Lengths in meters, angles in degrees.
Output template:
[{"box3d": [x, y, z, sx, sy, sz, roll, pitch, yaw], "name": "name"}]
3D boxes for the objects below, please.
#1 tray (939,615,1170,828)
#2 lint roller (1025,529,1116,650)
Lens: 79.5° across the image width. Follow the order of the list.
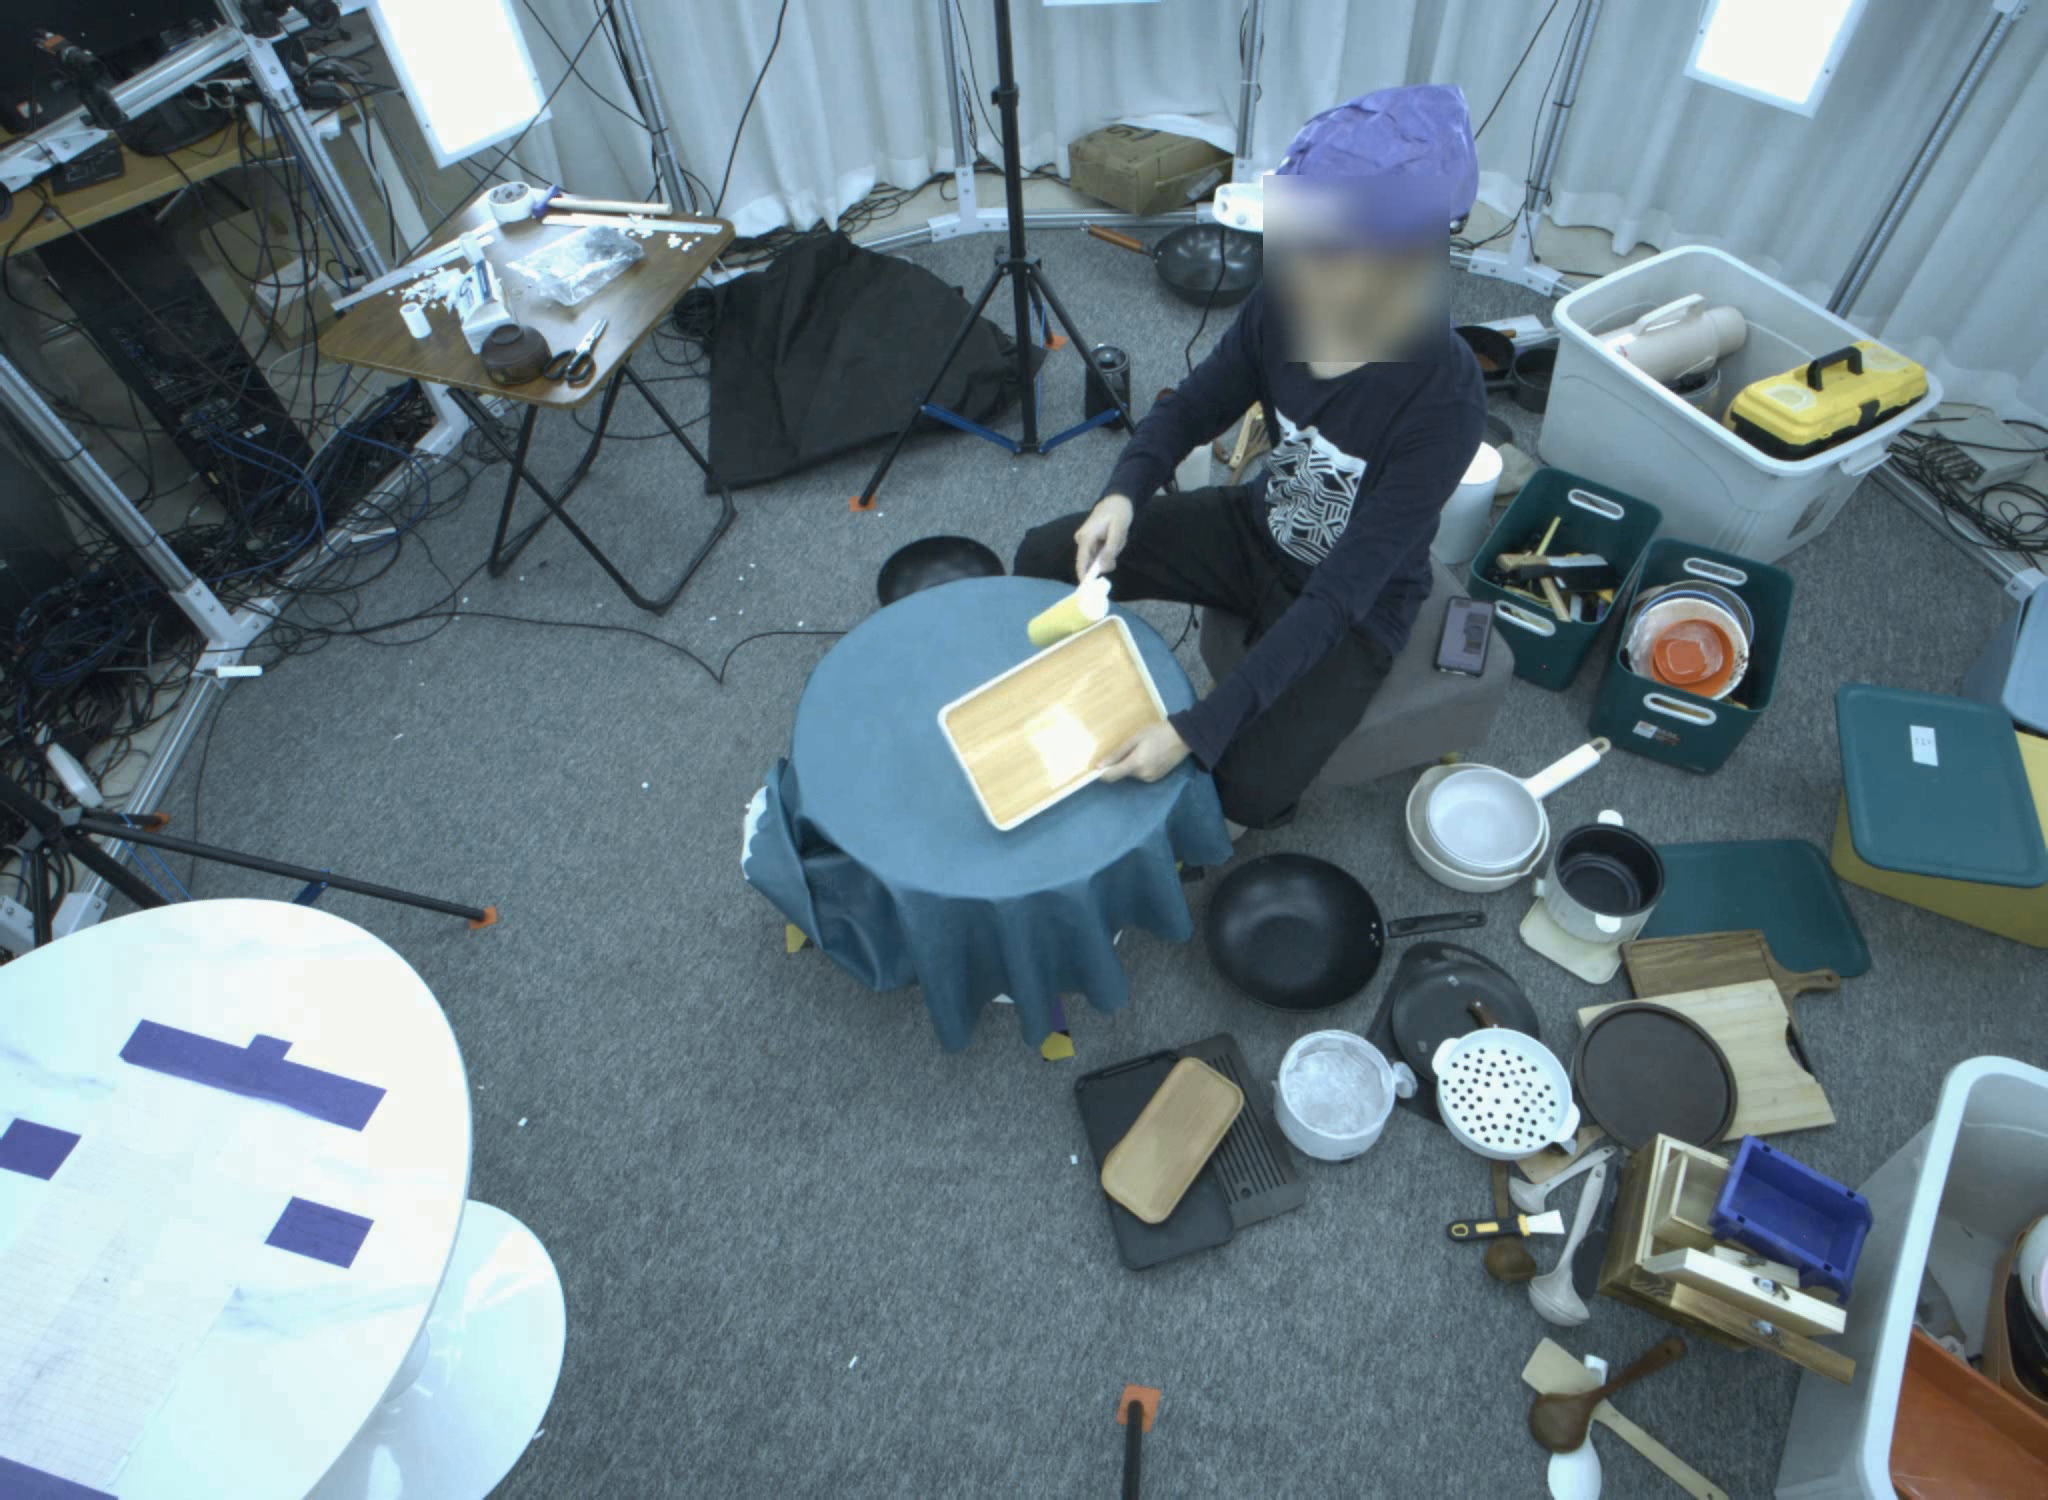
[{"box3d": [0.046, -0.042, 1.709, 0.302, 0.193, 0.027, -30, 17, -17], "name": "tray"}, {"box3d": [0.082, -0.245, 1.756, 0.052, 0.171, 0.191, 27, 69, -21], "name": "lint roller"}]
